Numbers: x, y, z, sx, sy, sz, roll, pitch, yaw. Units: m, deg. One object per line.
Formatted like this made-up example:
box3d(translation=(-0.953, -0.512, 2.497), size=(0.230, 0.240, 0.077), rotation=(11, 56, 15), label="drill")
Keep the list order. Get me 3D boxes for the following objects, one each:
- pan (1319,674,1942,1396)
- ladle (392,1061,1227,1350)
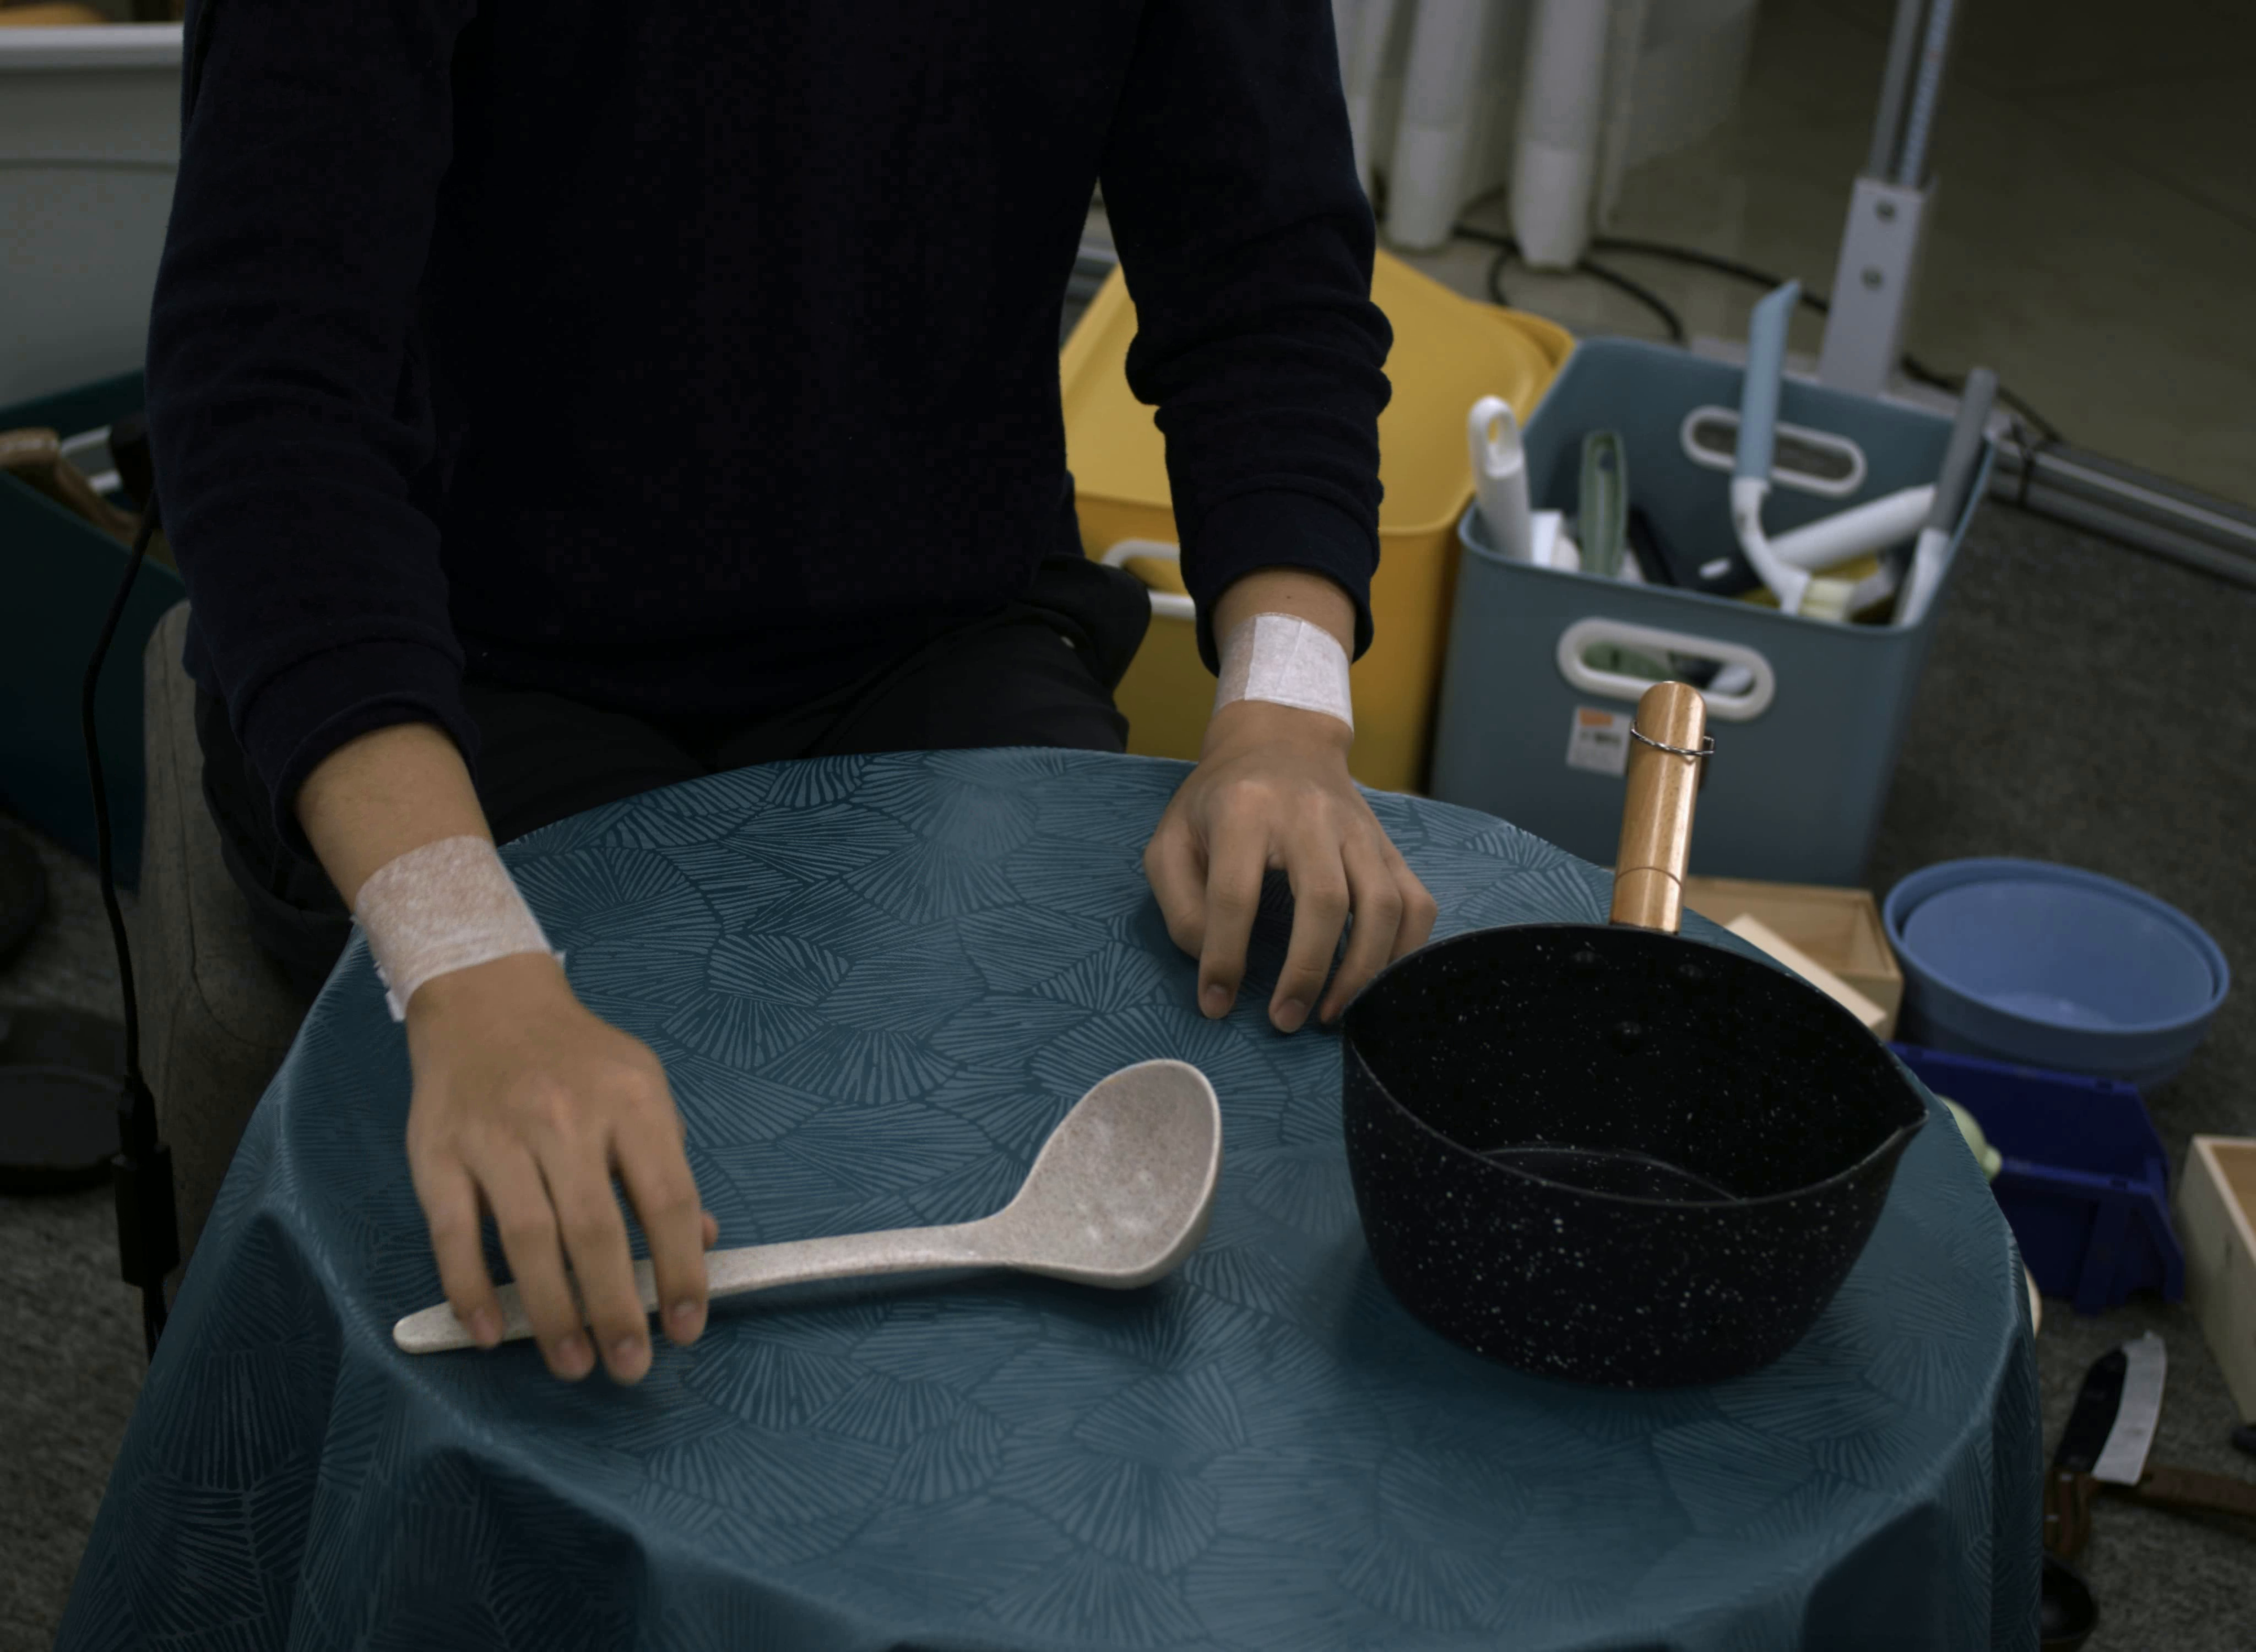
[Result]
box3d(translation=(0.171, 0.067, 1.833), size=(0.207, 0.108, 0.344), rotation=(8, 28, 4), label="pan")
box3d(translation=(-0.100, 0.123, 1.705), size=(0.273, 0.069, 0.090), rotation=(-4, 35, -22), label="ladle")
